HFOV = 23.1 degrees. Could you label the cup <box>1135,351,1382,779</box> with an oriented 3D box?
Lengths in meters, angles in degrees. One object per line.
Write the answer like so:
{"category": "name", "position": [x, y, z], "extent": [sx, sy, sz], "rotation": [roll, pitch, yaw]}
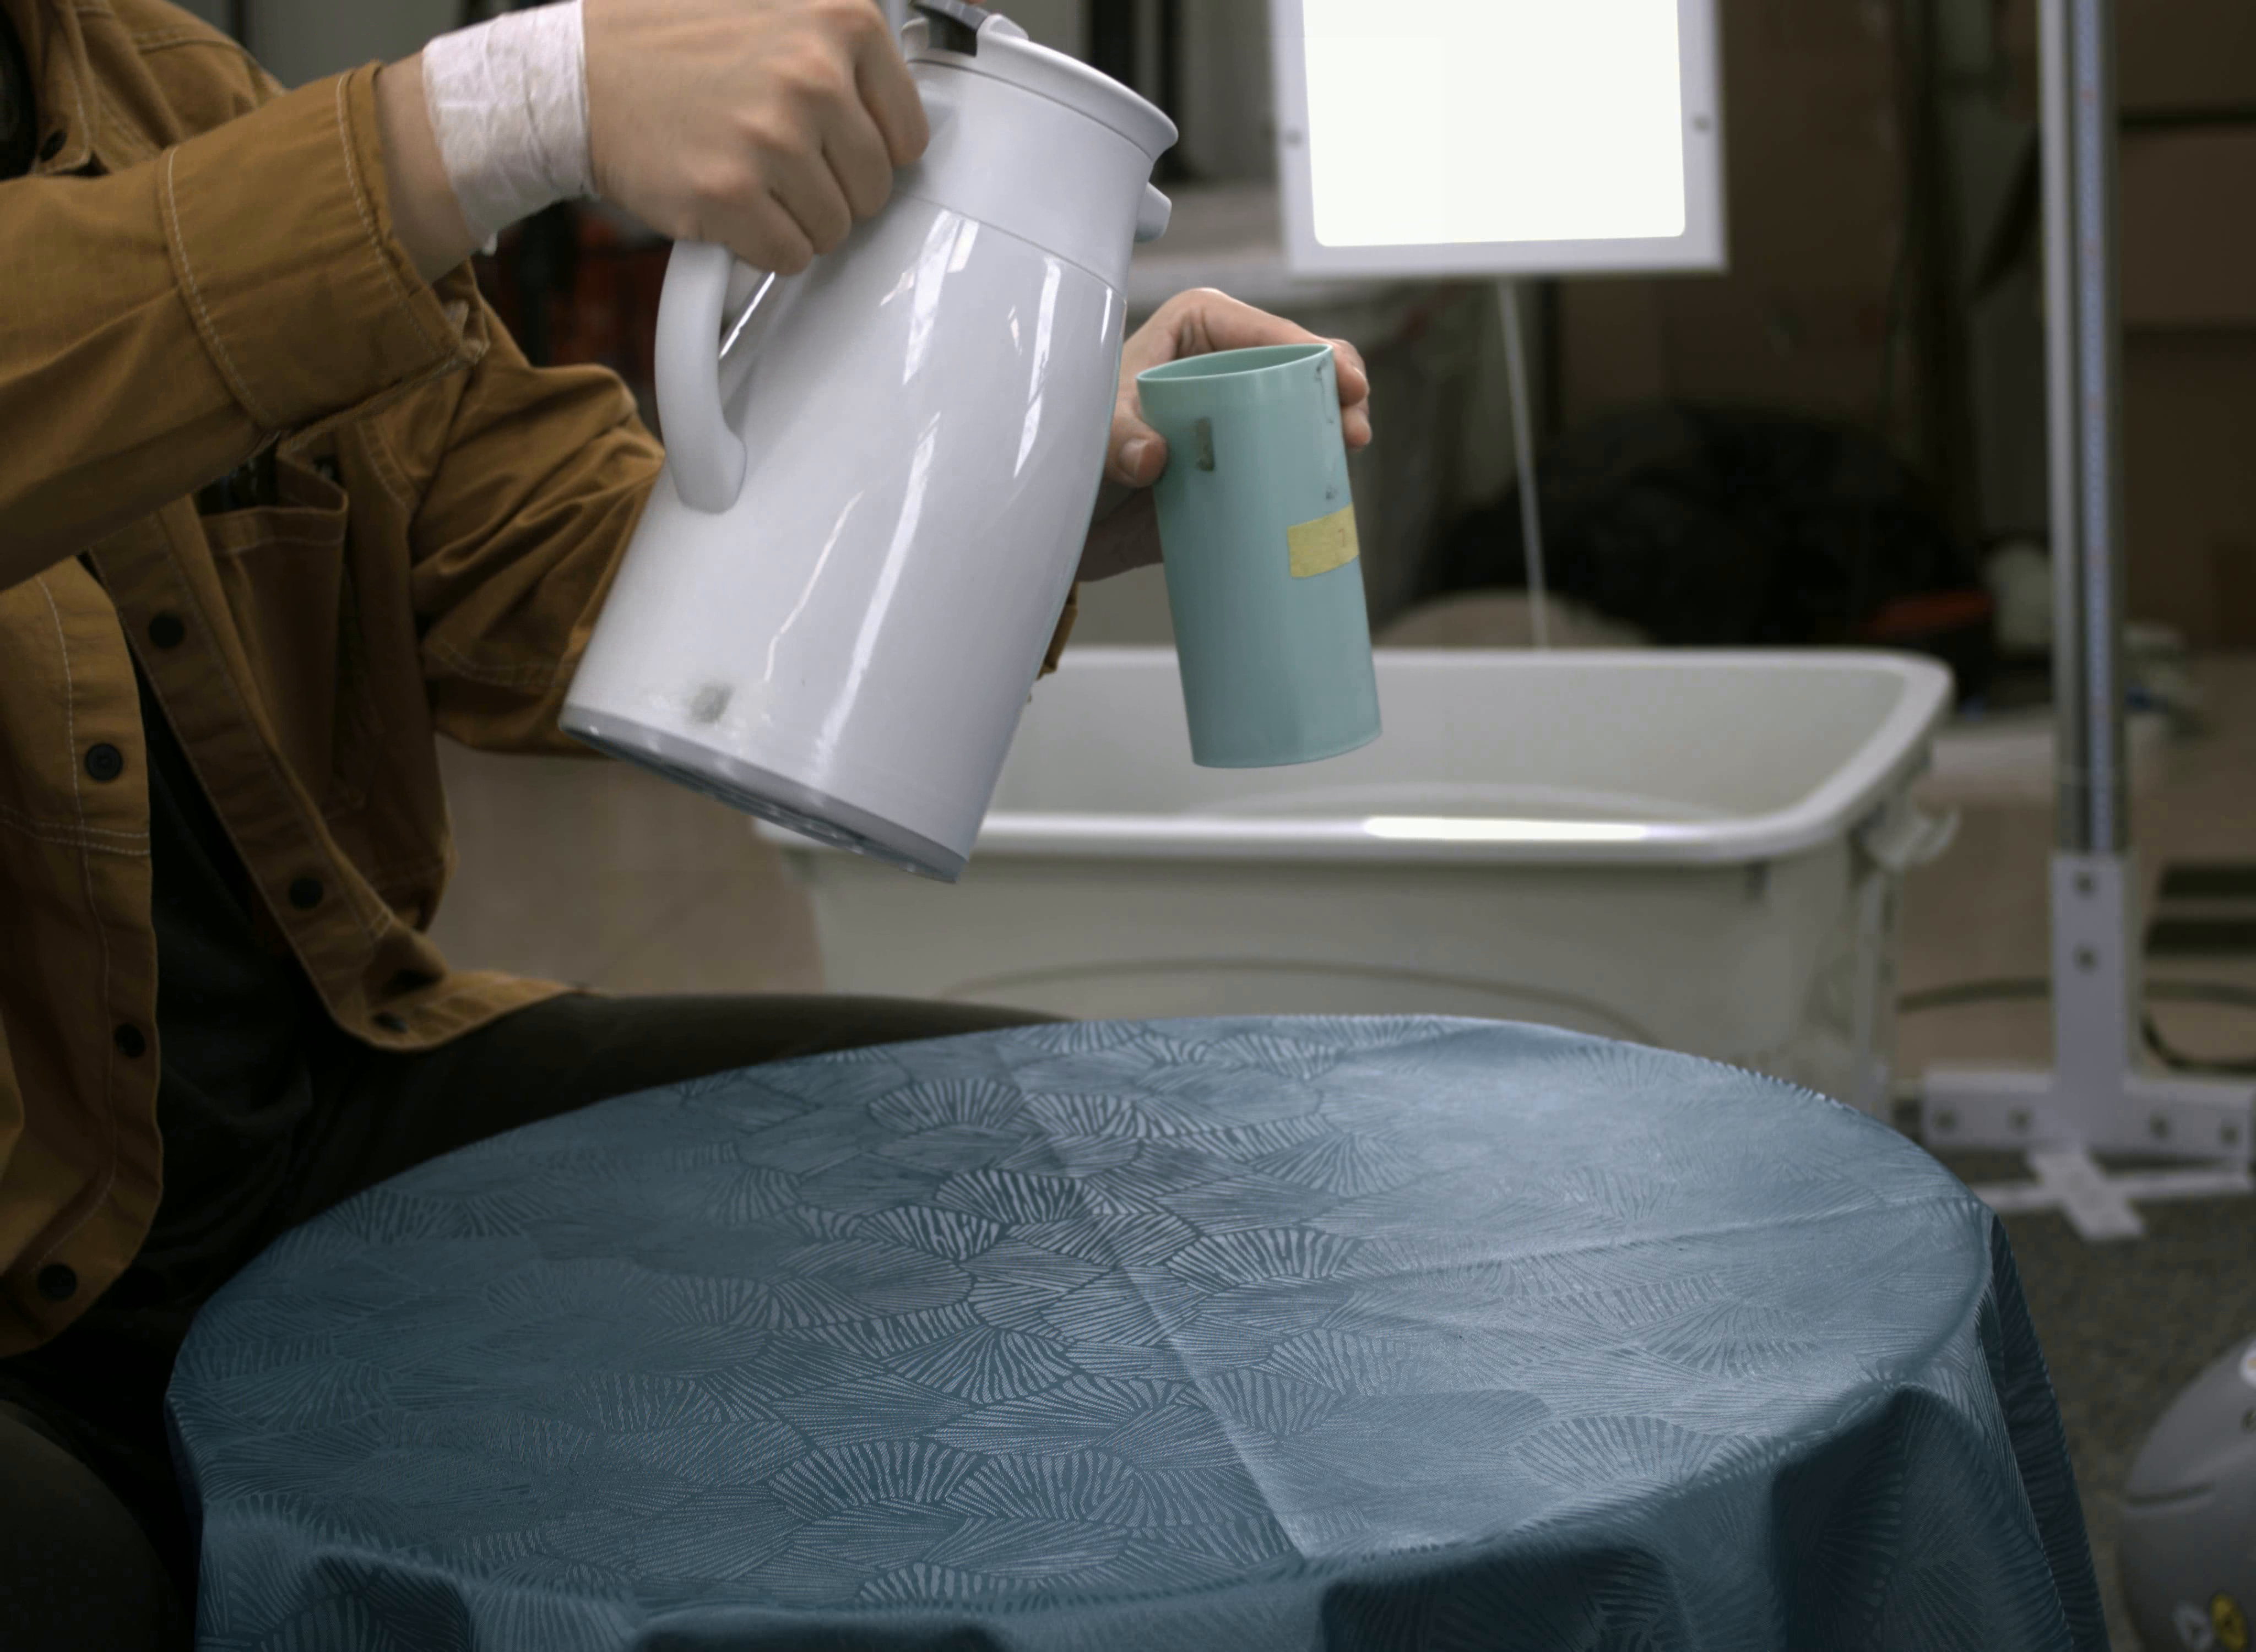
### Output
{"category": "cup", "position": [0.043, -0.087, 1.811], "extent": [0.066, 0.133, 0.066], "rotation": [-8, 11, 0]}

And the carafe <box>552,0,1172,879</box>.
{"category": "carafe", "position": [-0.081, -0.128, 1.668], "extent": [0.135, 0.249, 0.164], "rotation": [18, -5, 45]}
